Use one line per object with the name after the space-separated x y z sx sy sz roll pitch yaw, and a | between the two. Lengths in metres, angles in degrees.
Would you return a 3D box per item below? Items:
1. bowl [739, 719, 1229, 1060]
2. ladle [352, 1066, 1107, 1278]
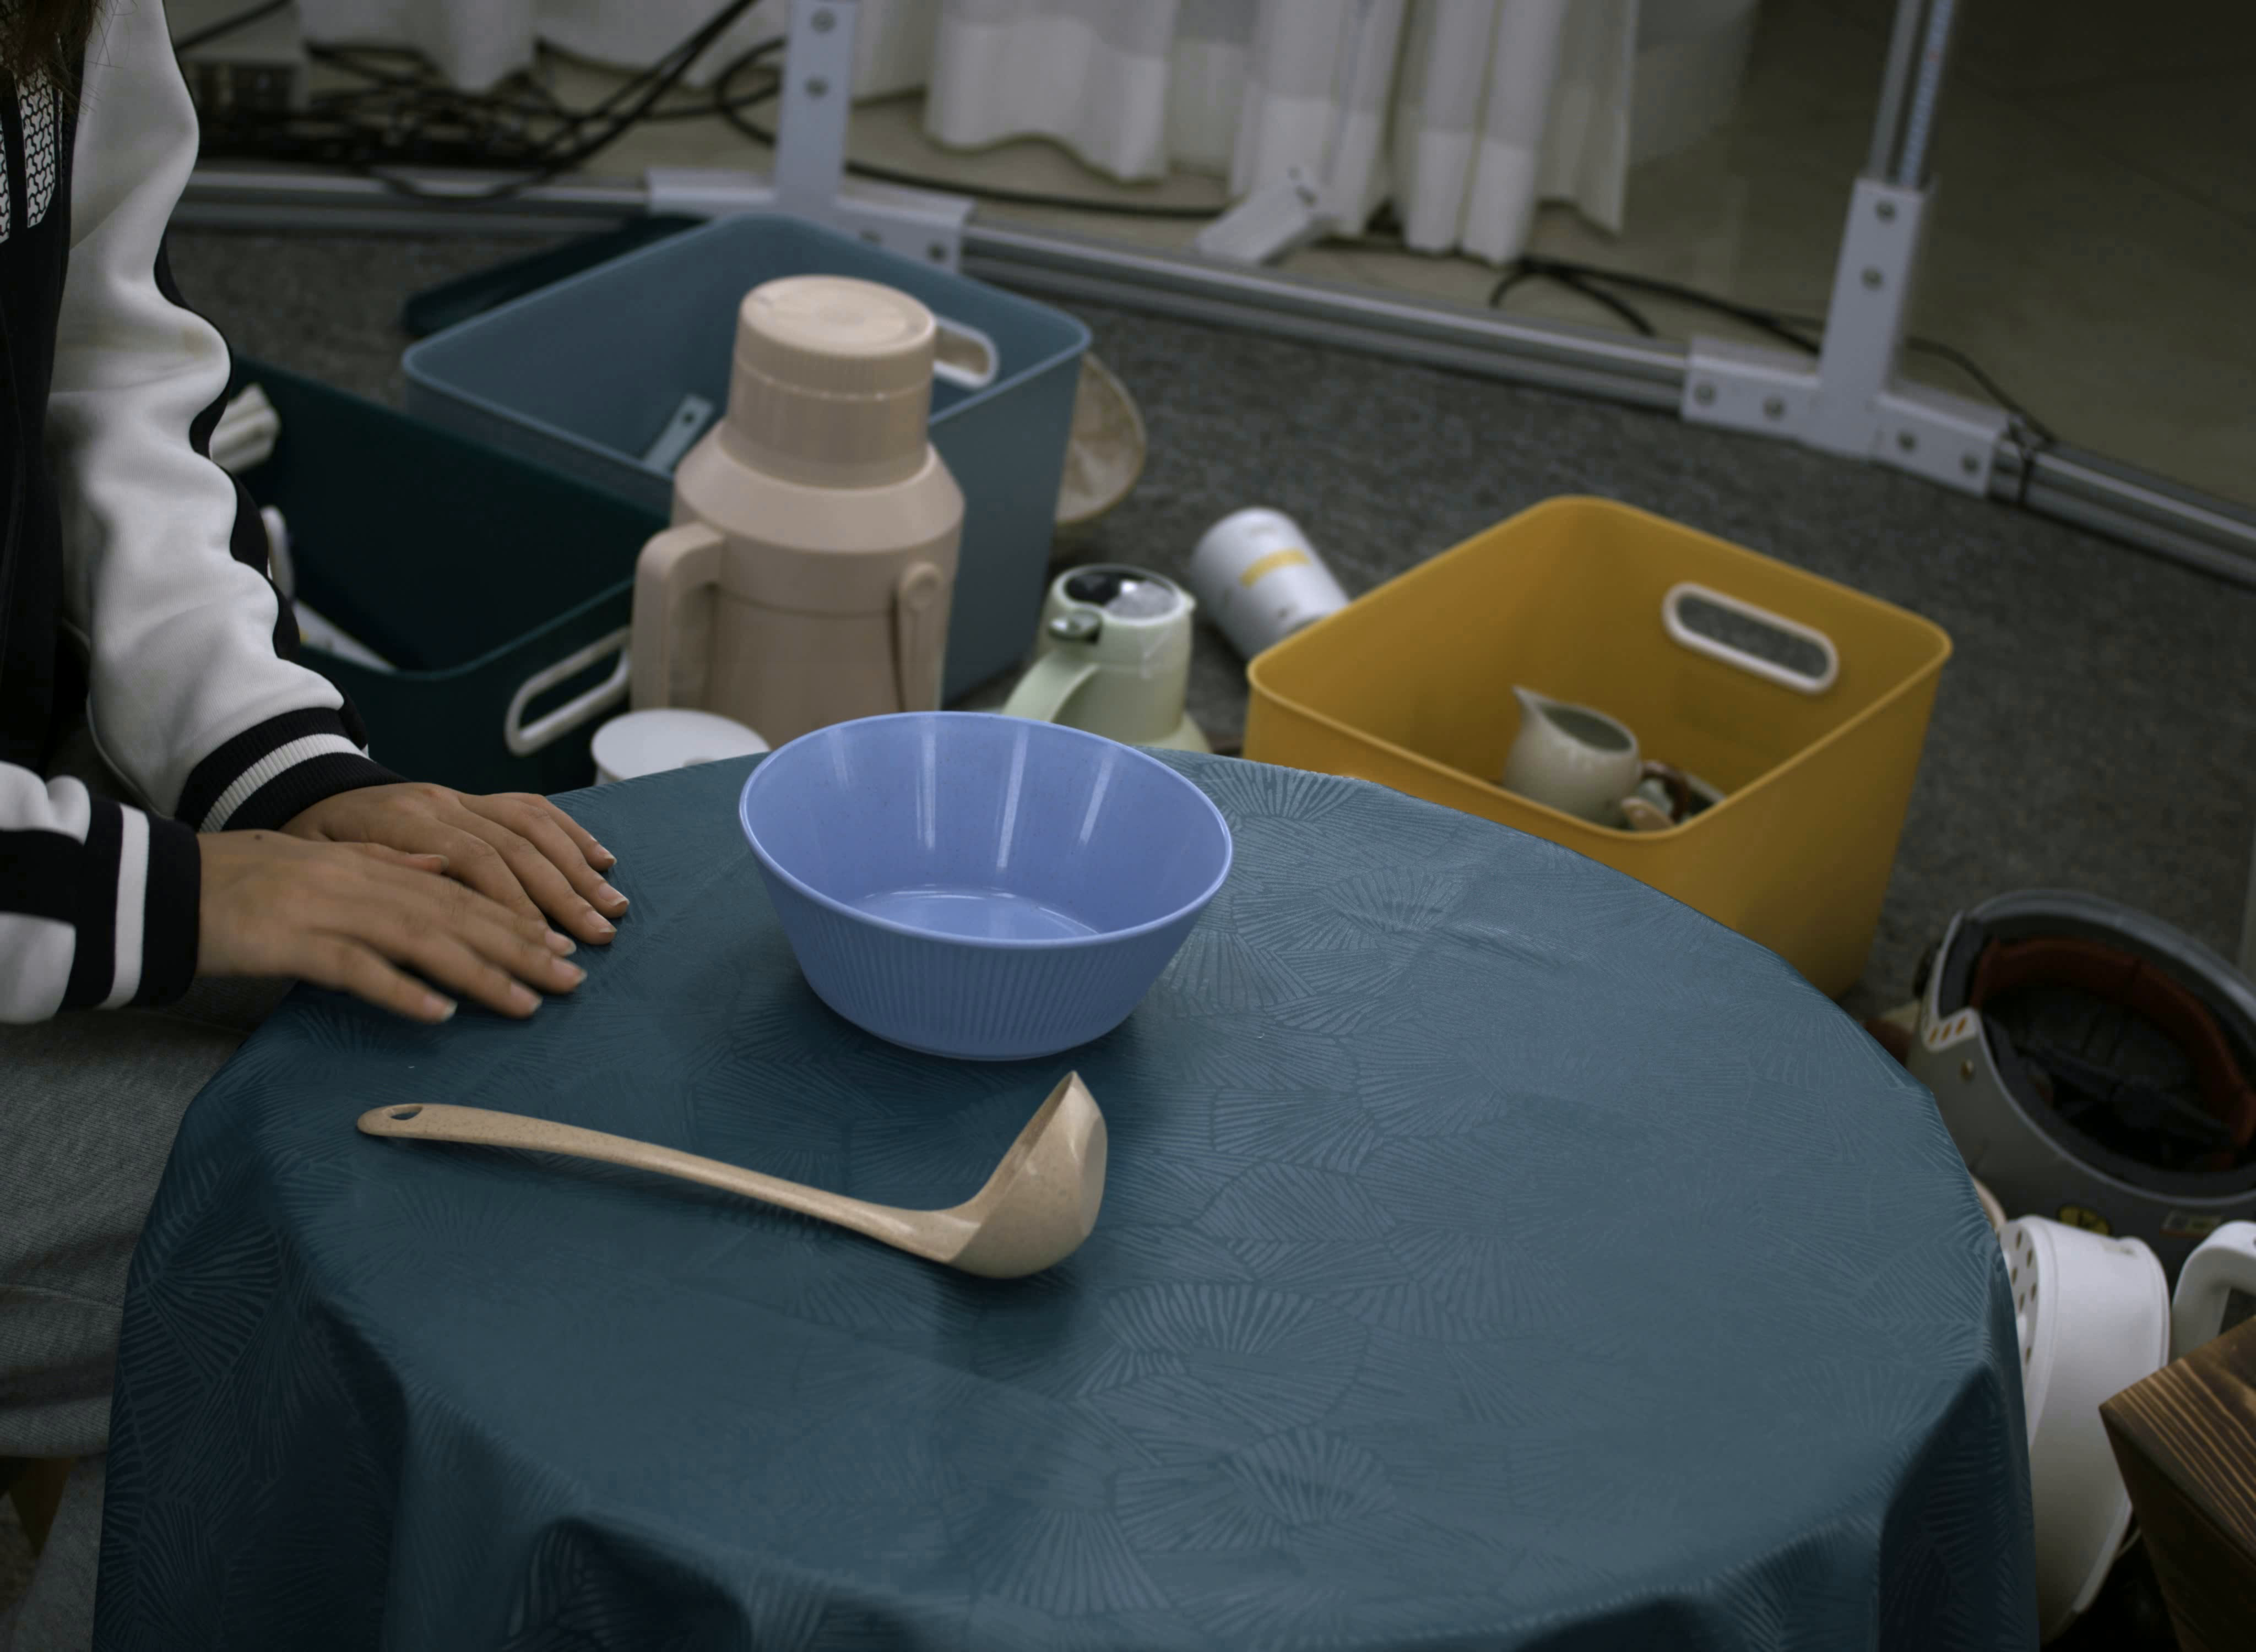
-0.054 0.028 1.900 0.175 0.070 0.177 6 26 -3 | bowl
-0.133 0.095 1.749 0.254 0.072 0.072 10 30 8 | ladle
